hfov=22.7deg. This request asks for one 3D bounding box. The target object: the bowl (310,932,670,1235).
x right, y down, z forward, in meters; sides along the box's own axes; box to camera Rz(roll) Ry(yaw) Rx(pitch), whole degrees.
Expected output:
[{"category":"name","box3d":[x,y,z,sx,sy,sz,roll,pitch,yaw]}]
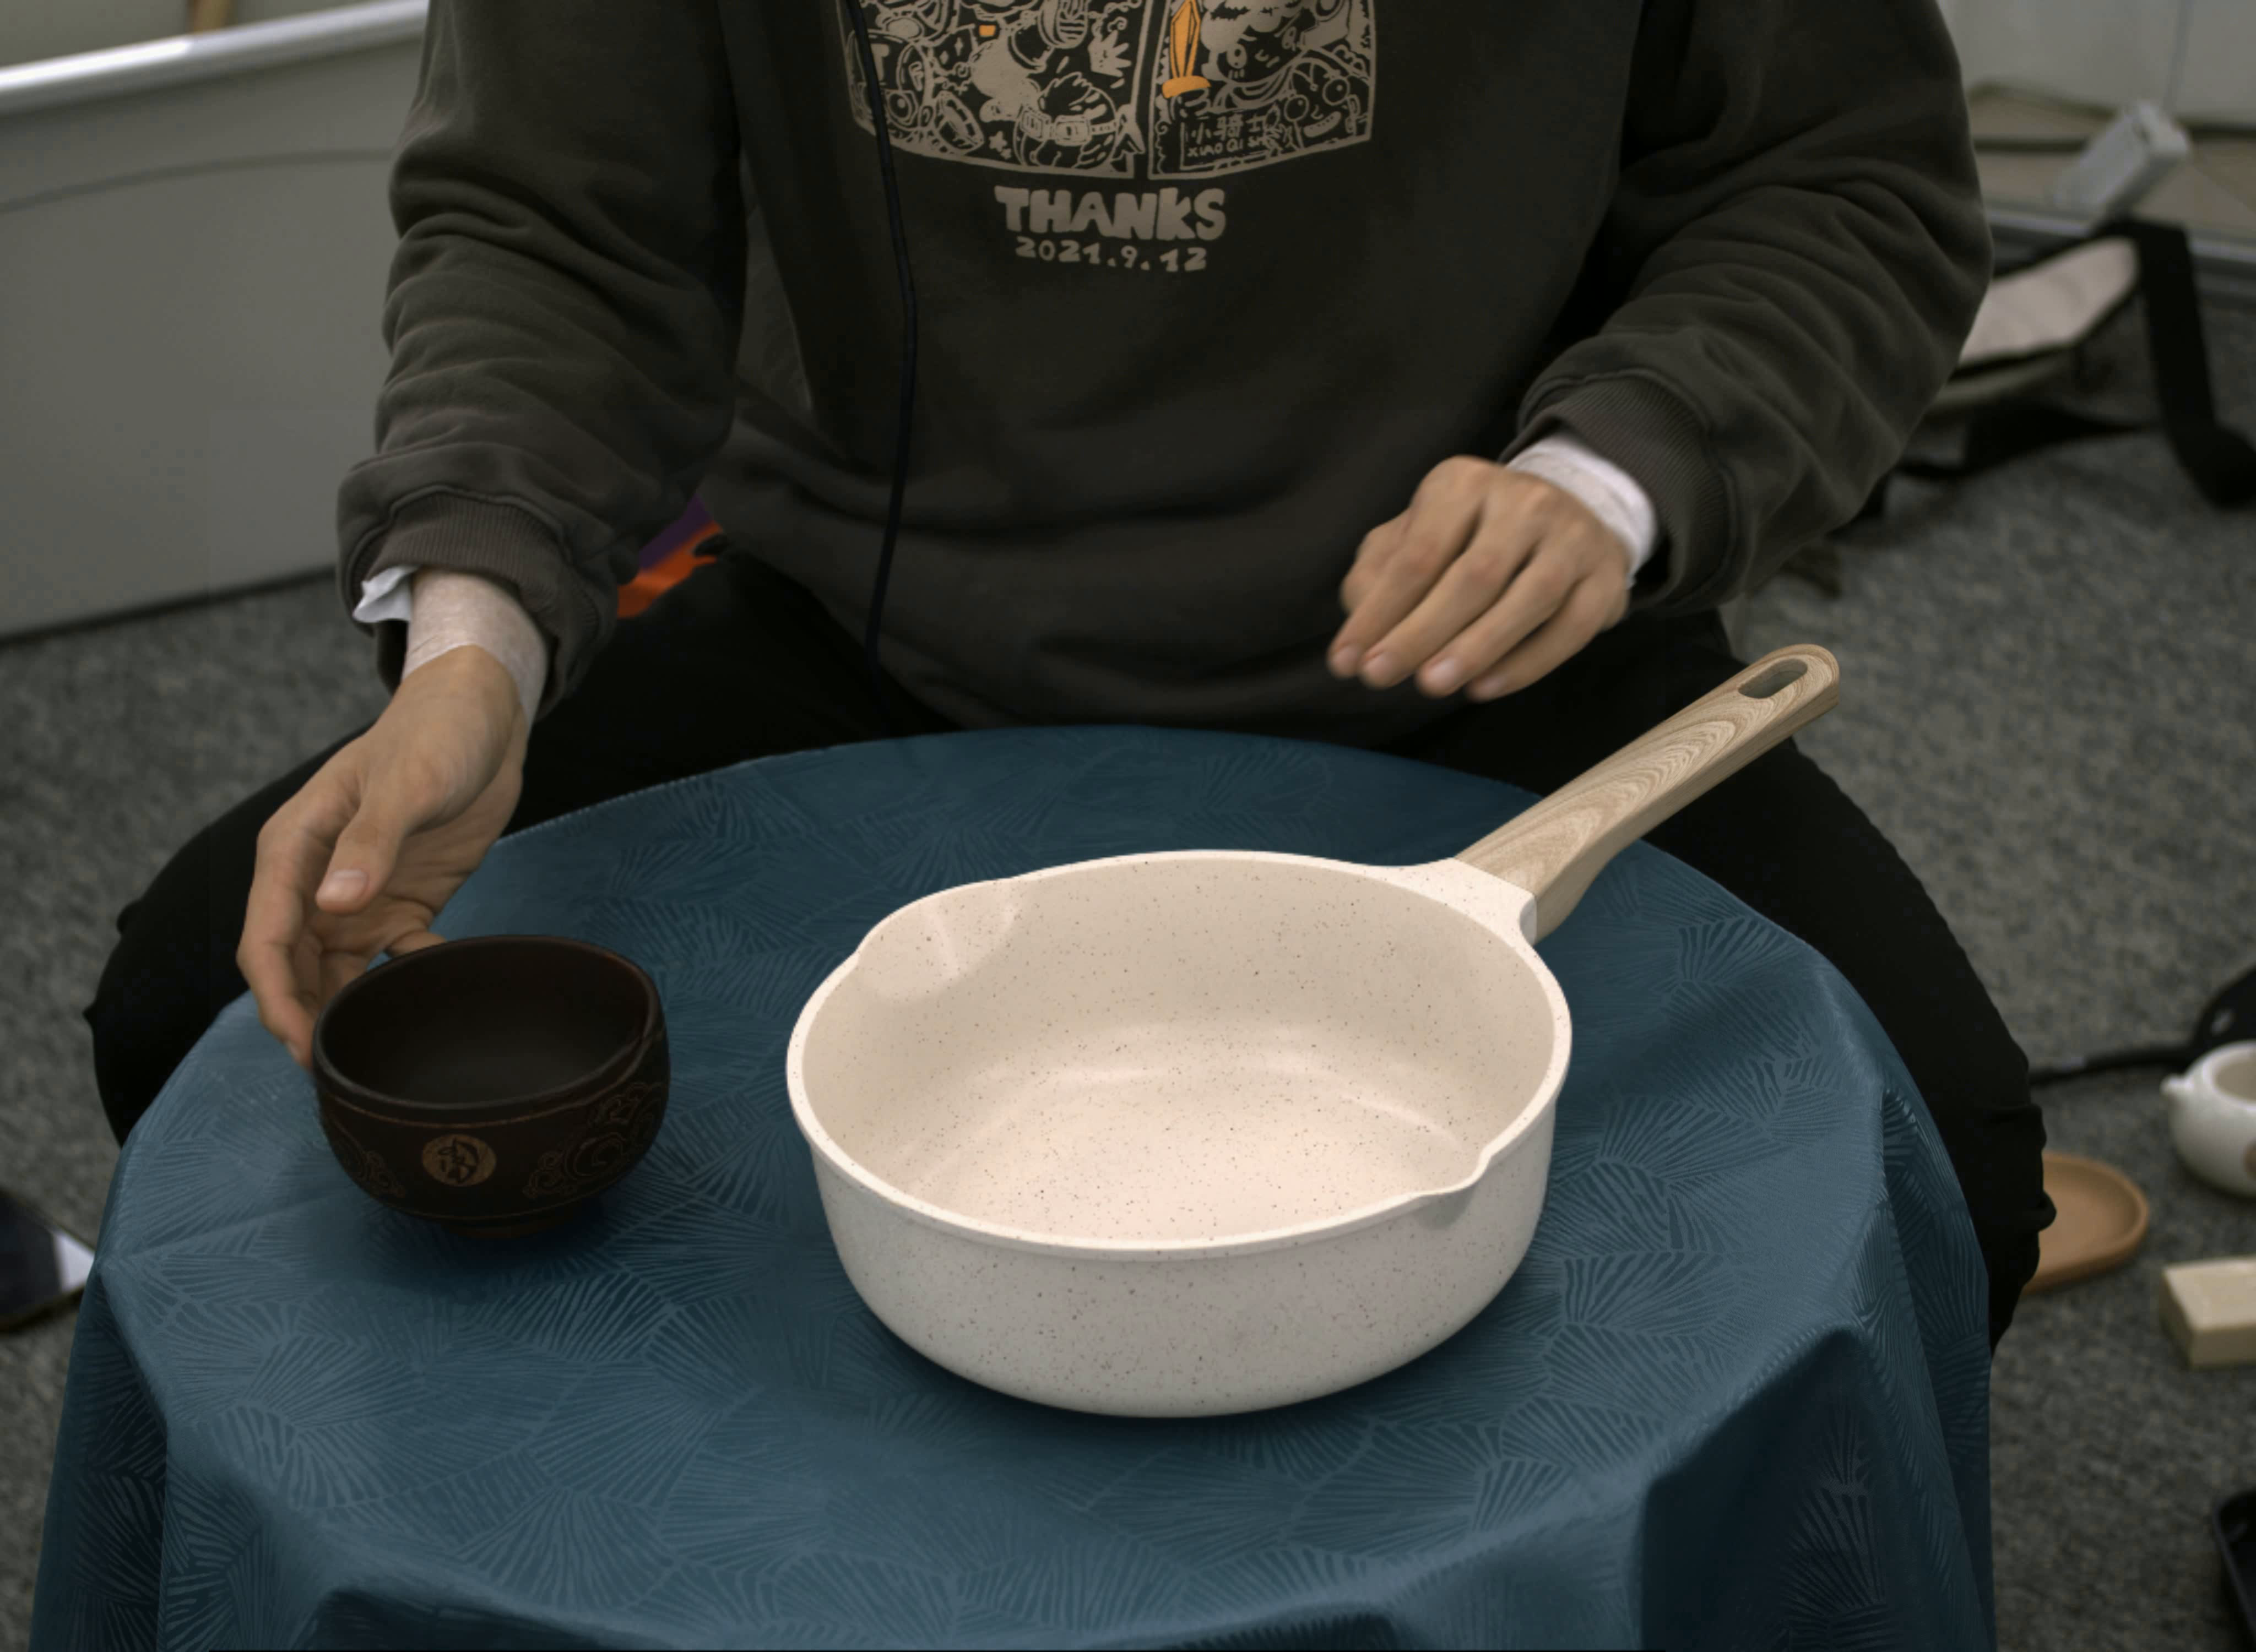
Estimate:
[{"category":"bowl","box3d":[-0.209,0.092,1.861,0.117,0.069,0.120,-3,26,2]}]

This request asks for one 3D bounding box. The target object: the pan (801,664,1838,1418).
[{"category":"pan","box3d":[0.089,0.065,1.856,0.440,0.101,0.263,-25,33,-37]}]
